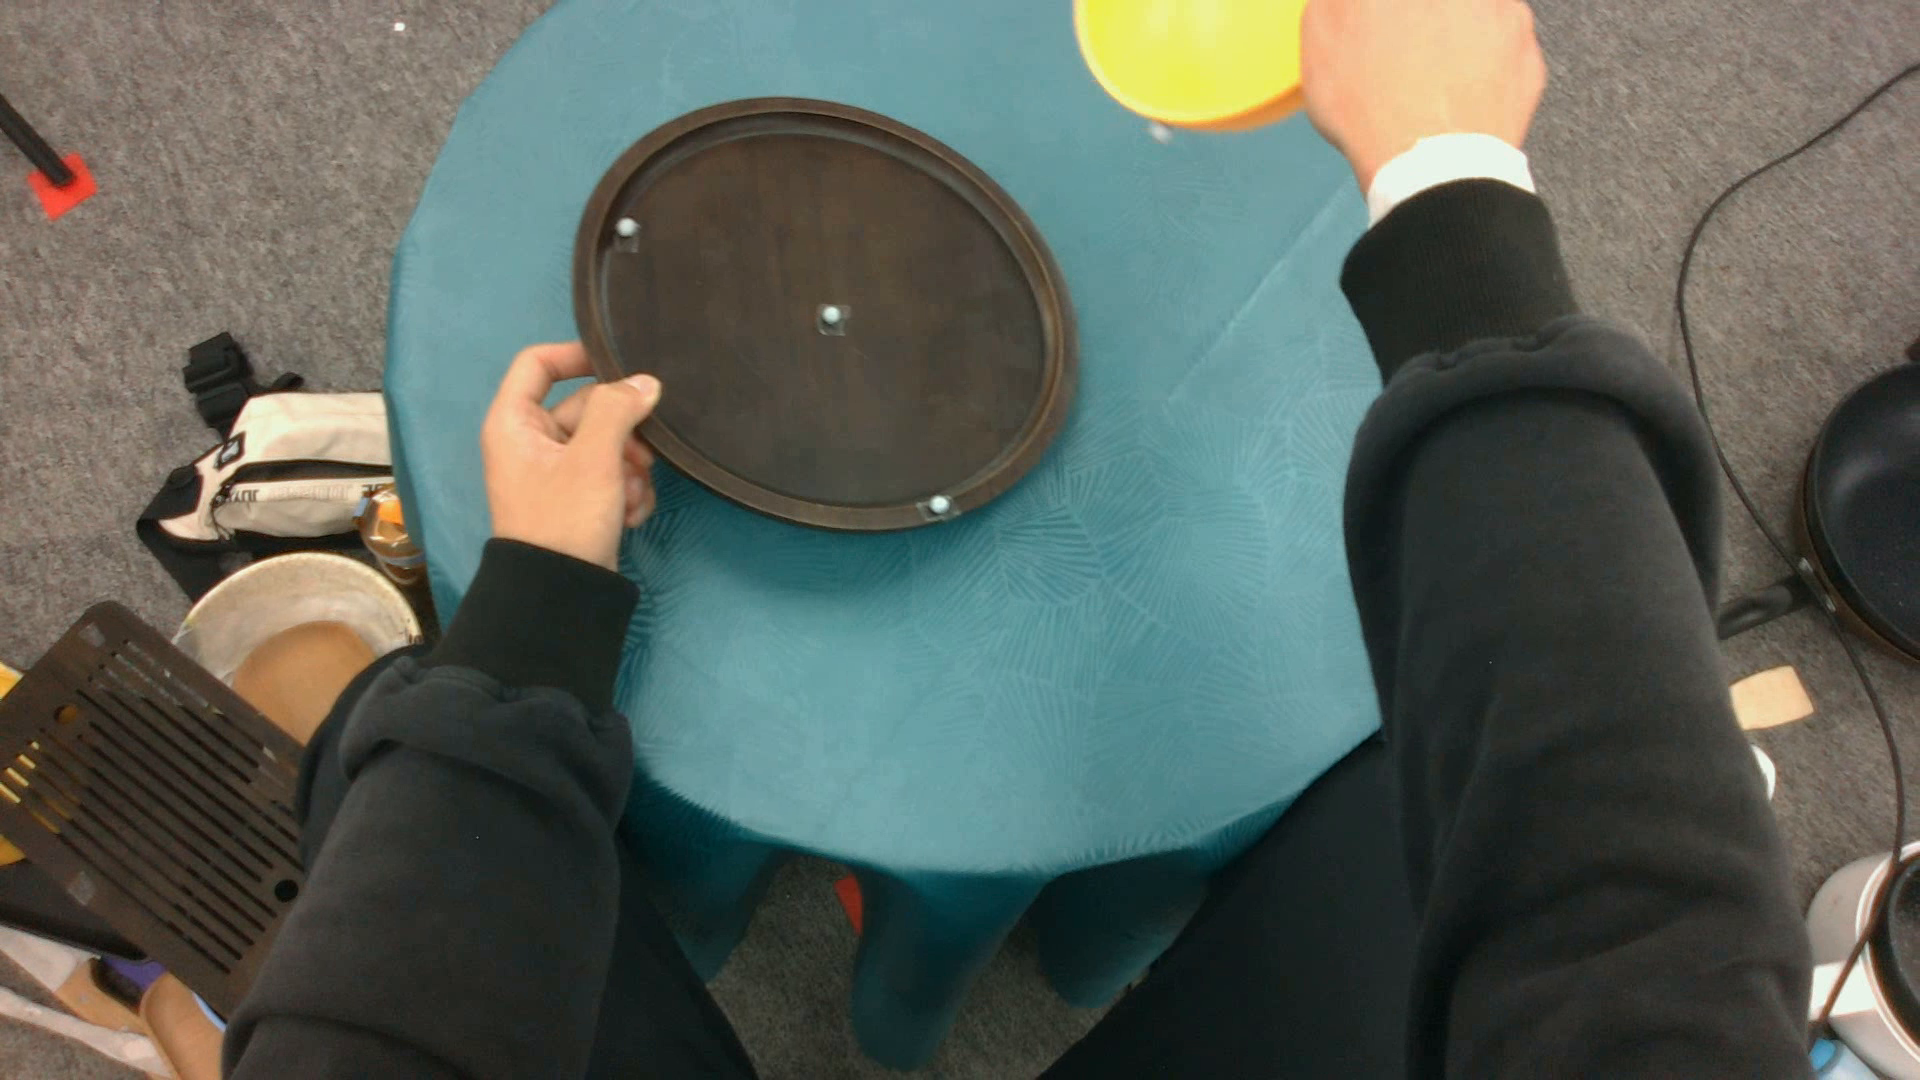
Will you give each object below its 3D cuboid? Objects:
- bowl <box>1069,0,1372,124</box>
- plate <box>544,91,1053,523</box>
[{"bbox_3d":[0.123,-0.238,0.597,0.145,0.060,0.146,-12,67,33],"label":"bowl"},{"bbox_3d":[-0.074,-0.120,0.679,0.255,0.029,0.256,10,61,-18],"label":"plate"}]
